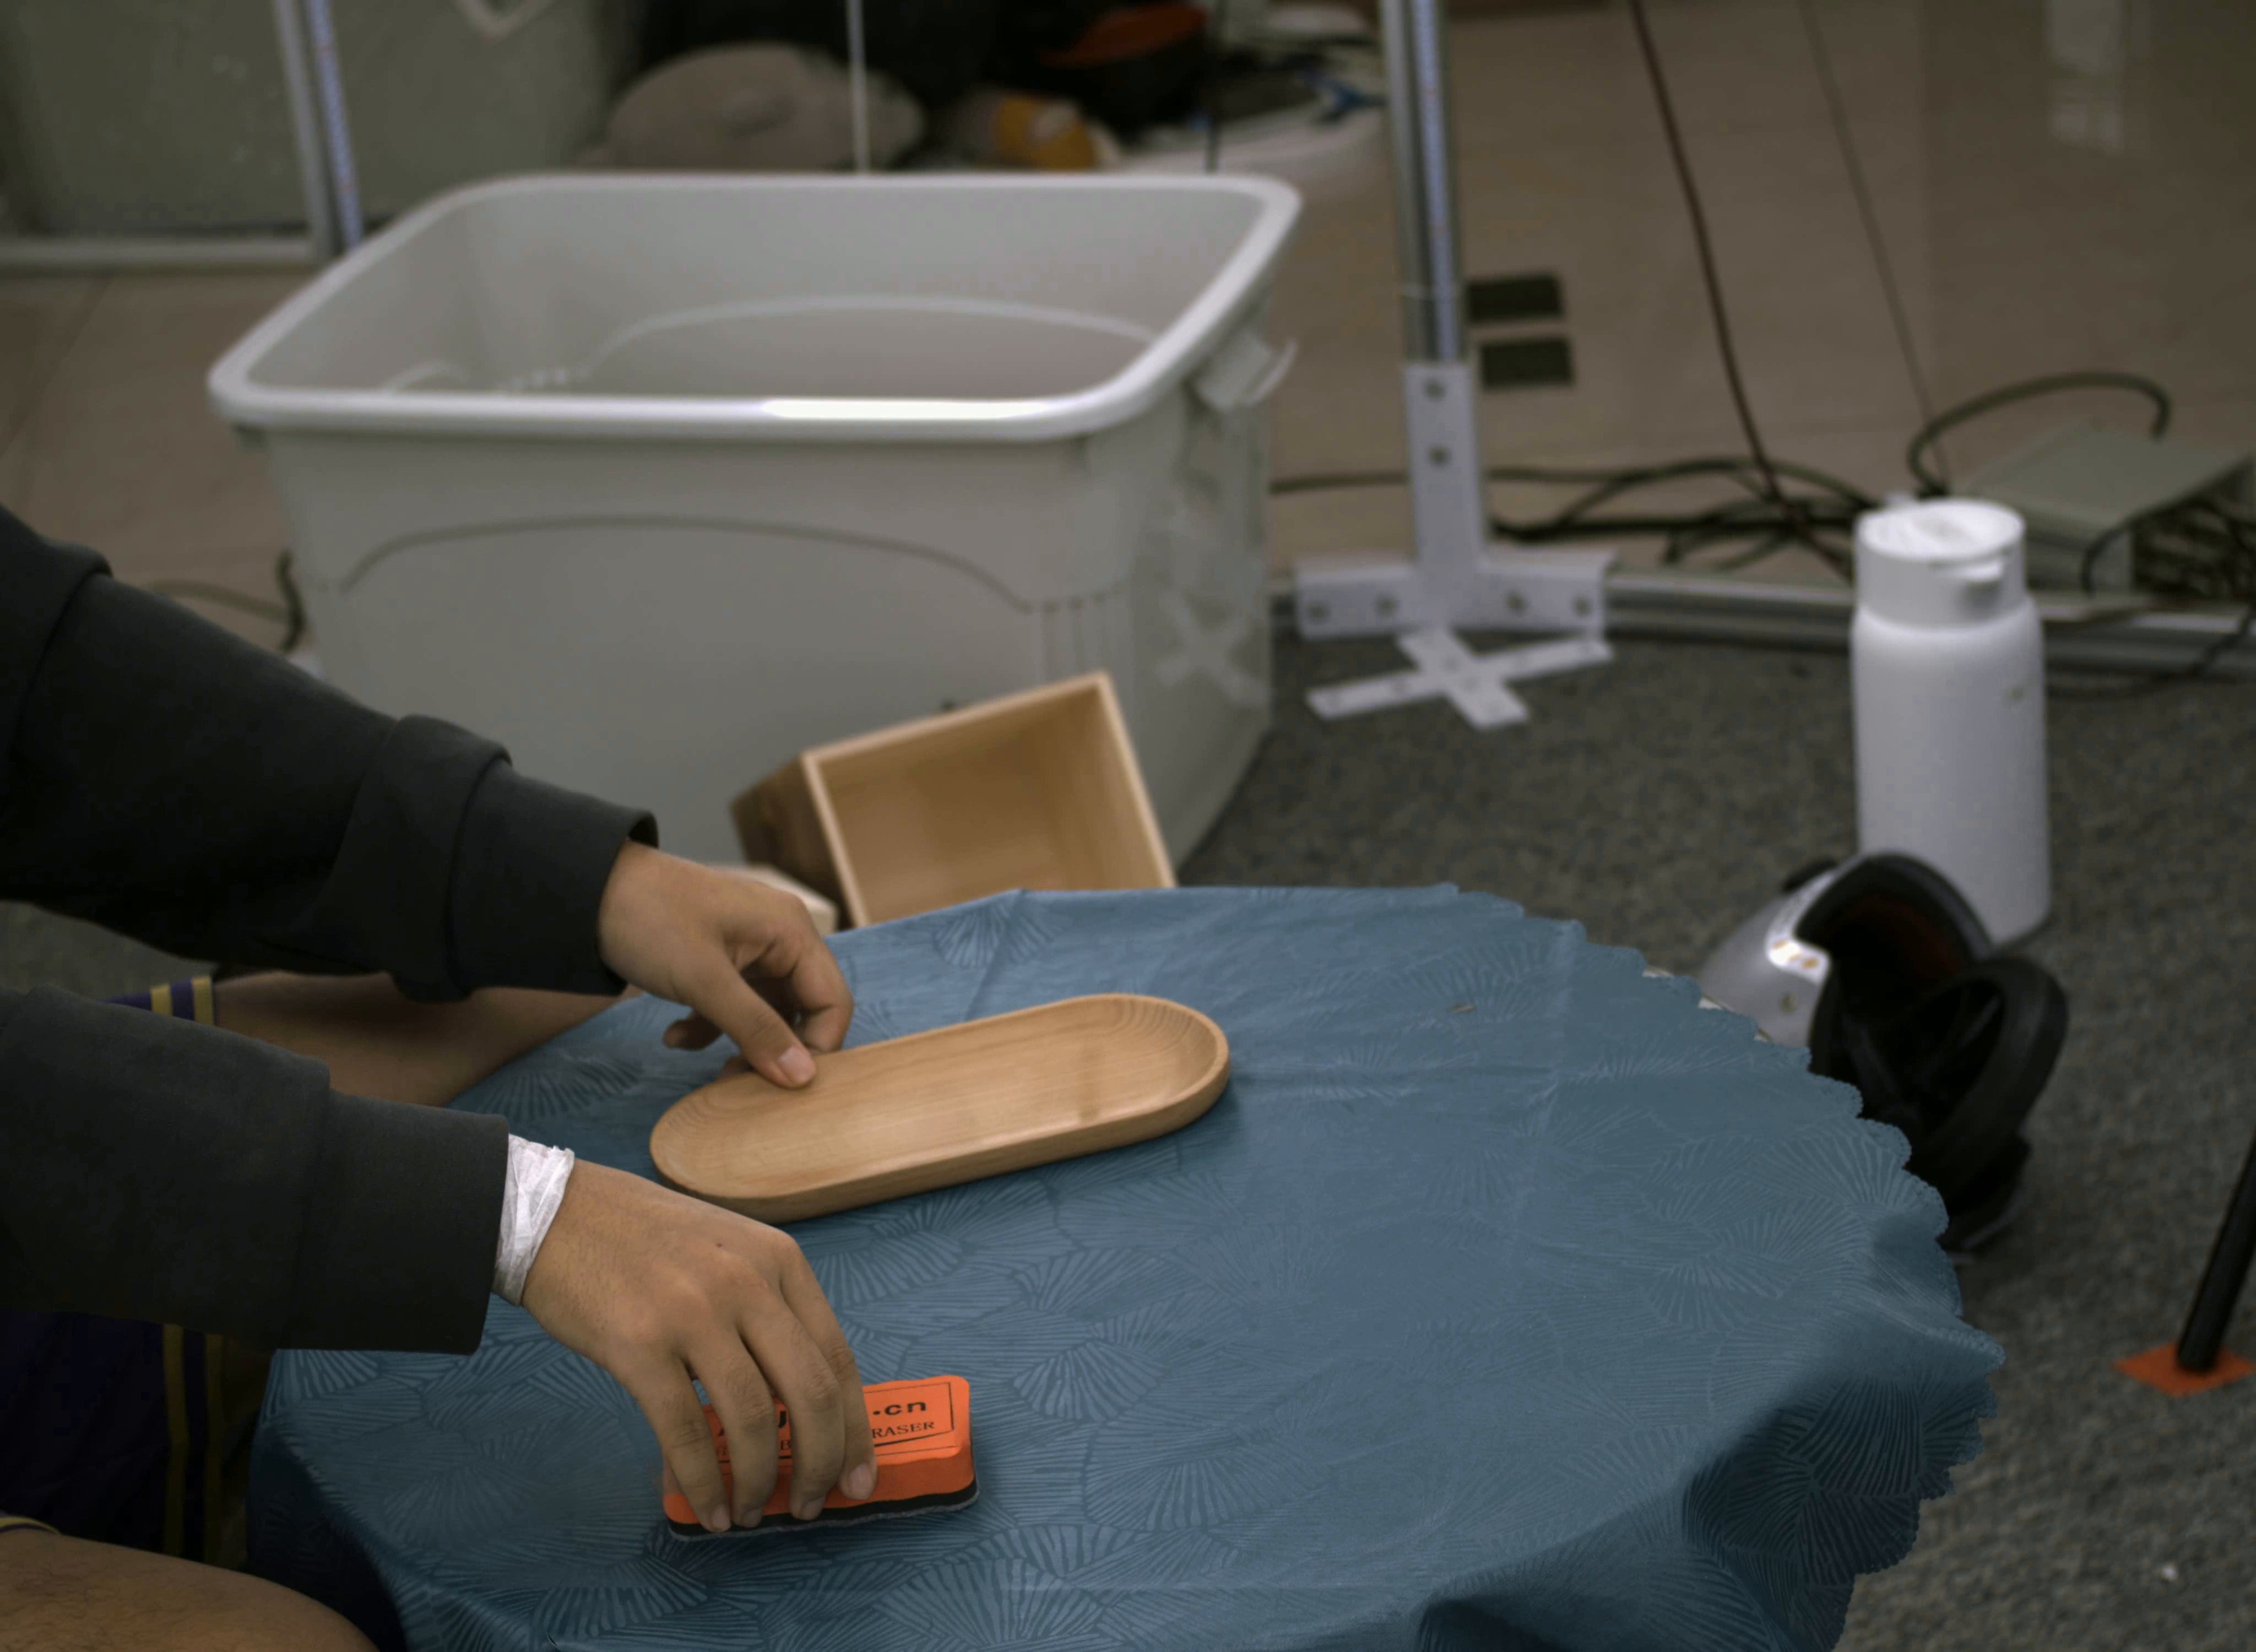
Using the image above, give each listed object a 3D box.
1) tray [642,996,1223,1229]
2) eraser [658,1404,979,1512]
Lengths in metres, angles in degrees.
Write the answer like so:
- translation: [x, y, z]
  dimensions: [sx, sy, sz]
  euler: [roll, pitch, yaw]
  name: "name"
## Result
- translation: [-0.075, 0.111, 2.202]
  dimensions: [0.230, 0.020, 0.100]
  euler: [-14, 27, -13]
  name: "tray"
- translation: [-0.107, 0.219, 1.972]
  dimensions: [0.108, 0.023, 0.059]
  euler: [-7, 0, 2]
  name: "eraser"
